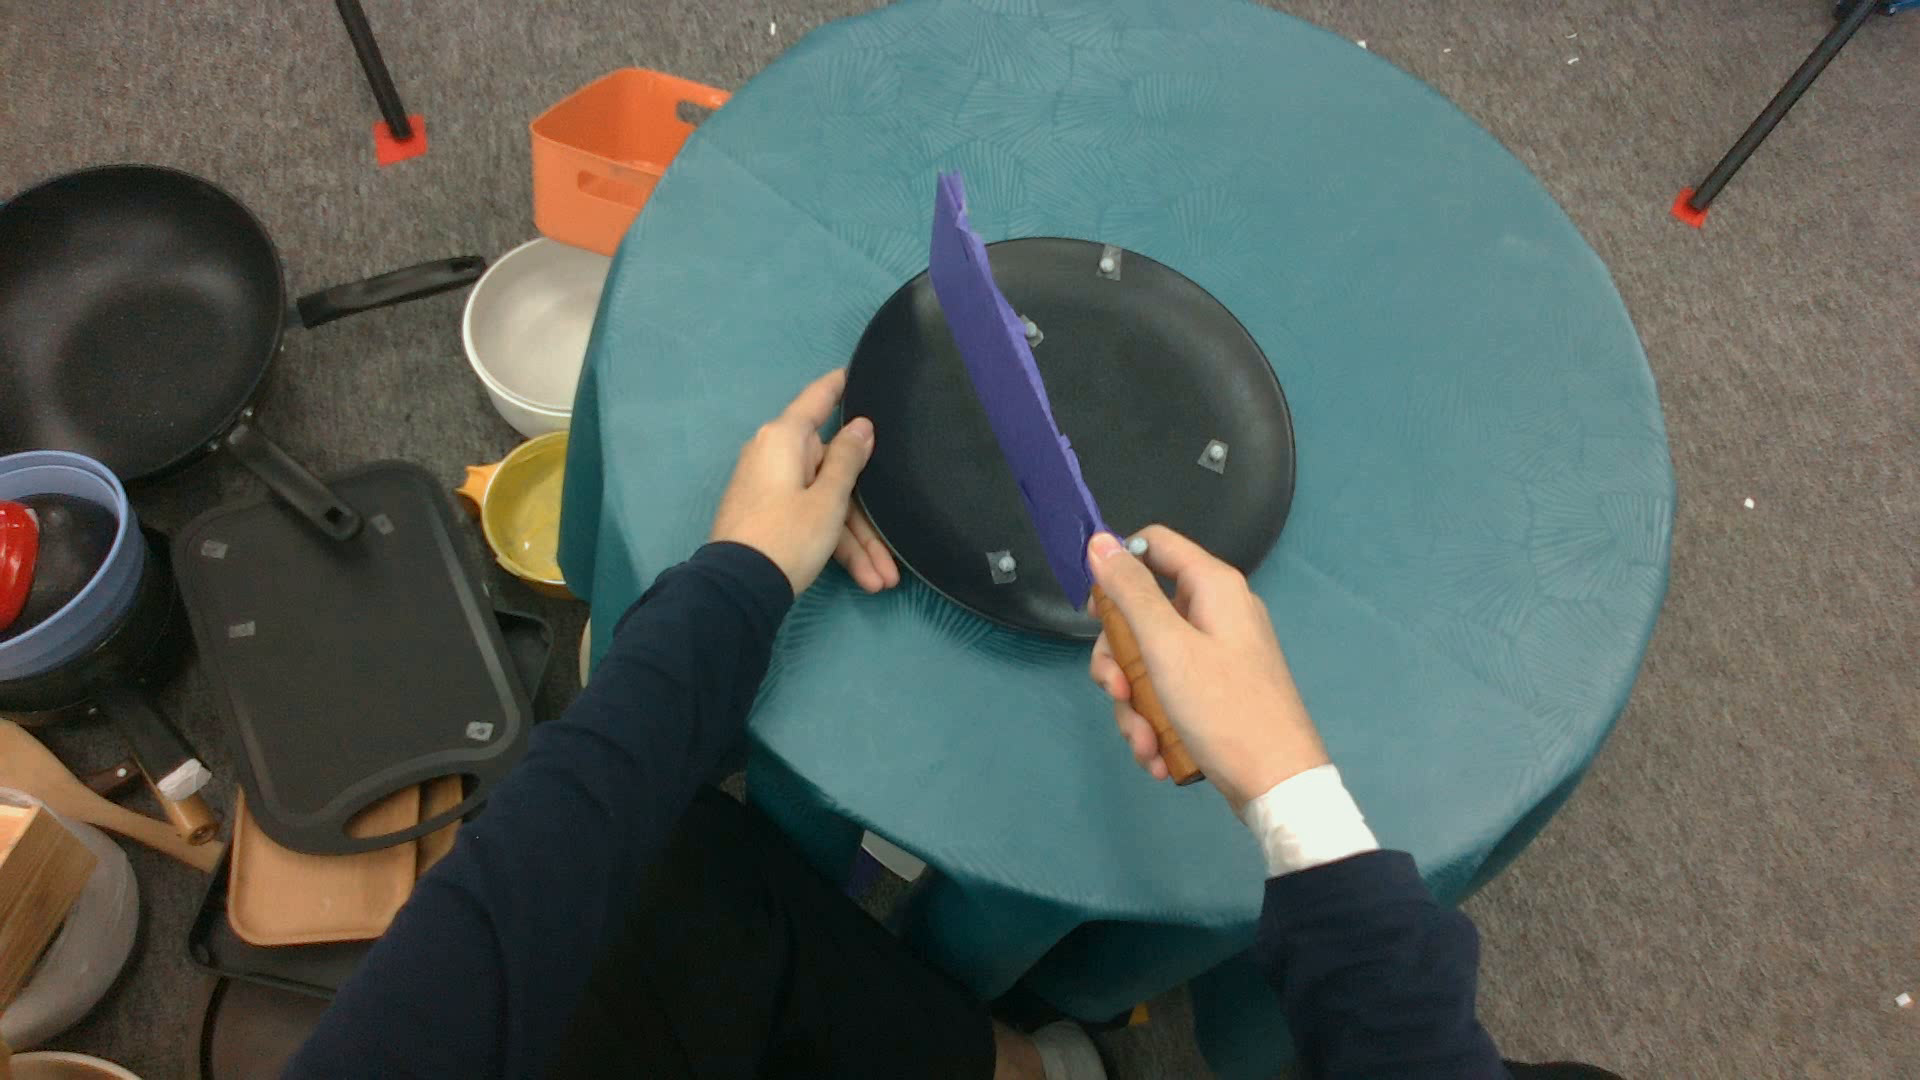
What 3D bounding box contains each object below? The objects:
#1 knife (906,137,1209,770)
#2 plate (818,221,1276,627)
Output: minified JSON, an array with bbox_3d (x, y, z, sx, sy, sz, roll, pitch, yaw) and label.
[{"bbox_3d":[0.035,-0.037,0.644,0.032,0.103,0.316,-16,70,-11],"label":"knife"},{"bbox_3d":[0.047,-0.064,0.727,0.244,0.023,0.245,4,64,-7],"label":"plate"}]
